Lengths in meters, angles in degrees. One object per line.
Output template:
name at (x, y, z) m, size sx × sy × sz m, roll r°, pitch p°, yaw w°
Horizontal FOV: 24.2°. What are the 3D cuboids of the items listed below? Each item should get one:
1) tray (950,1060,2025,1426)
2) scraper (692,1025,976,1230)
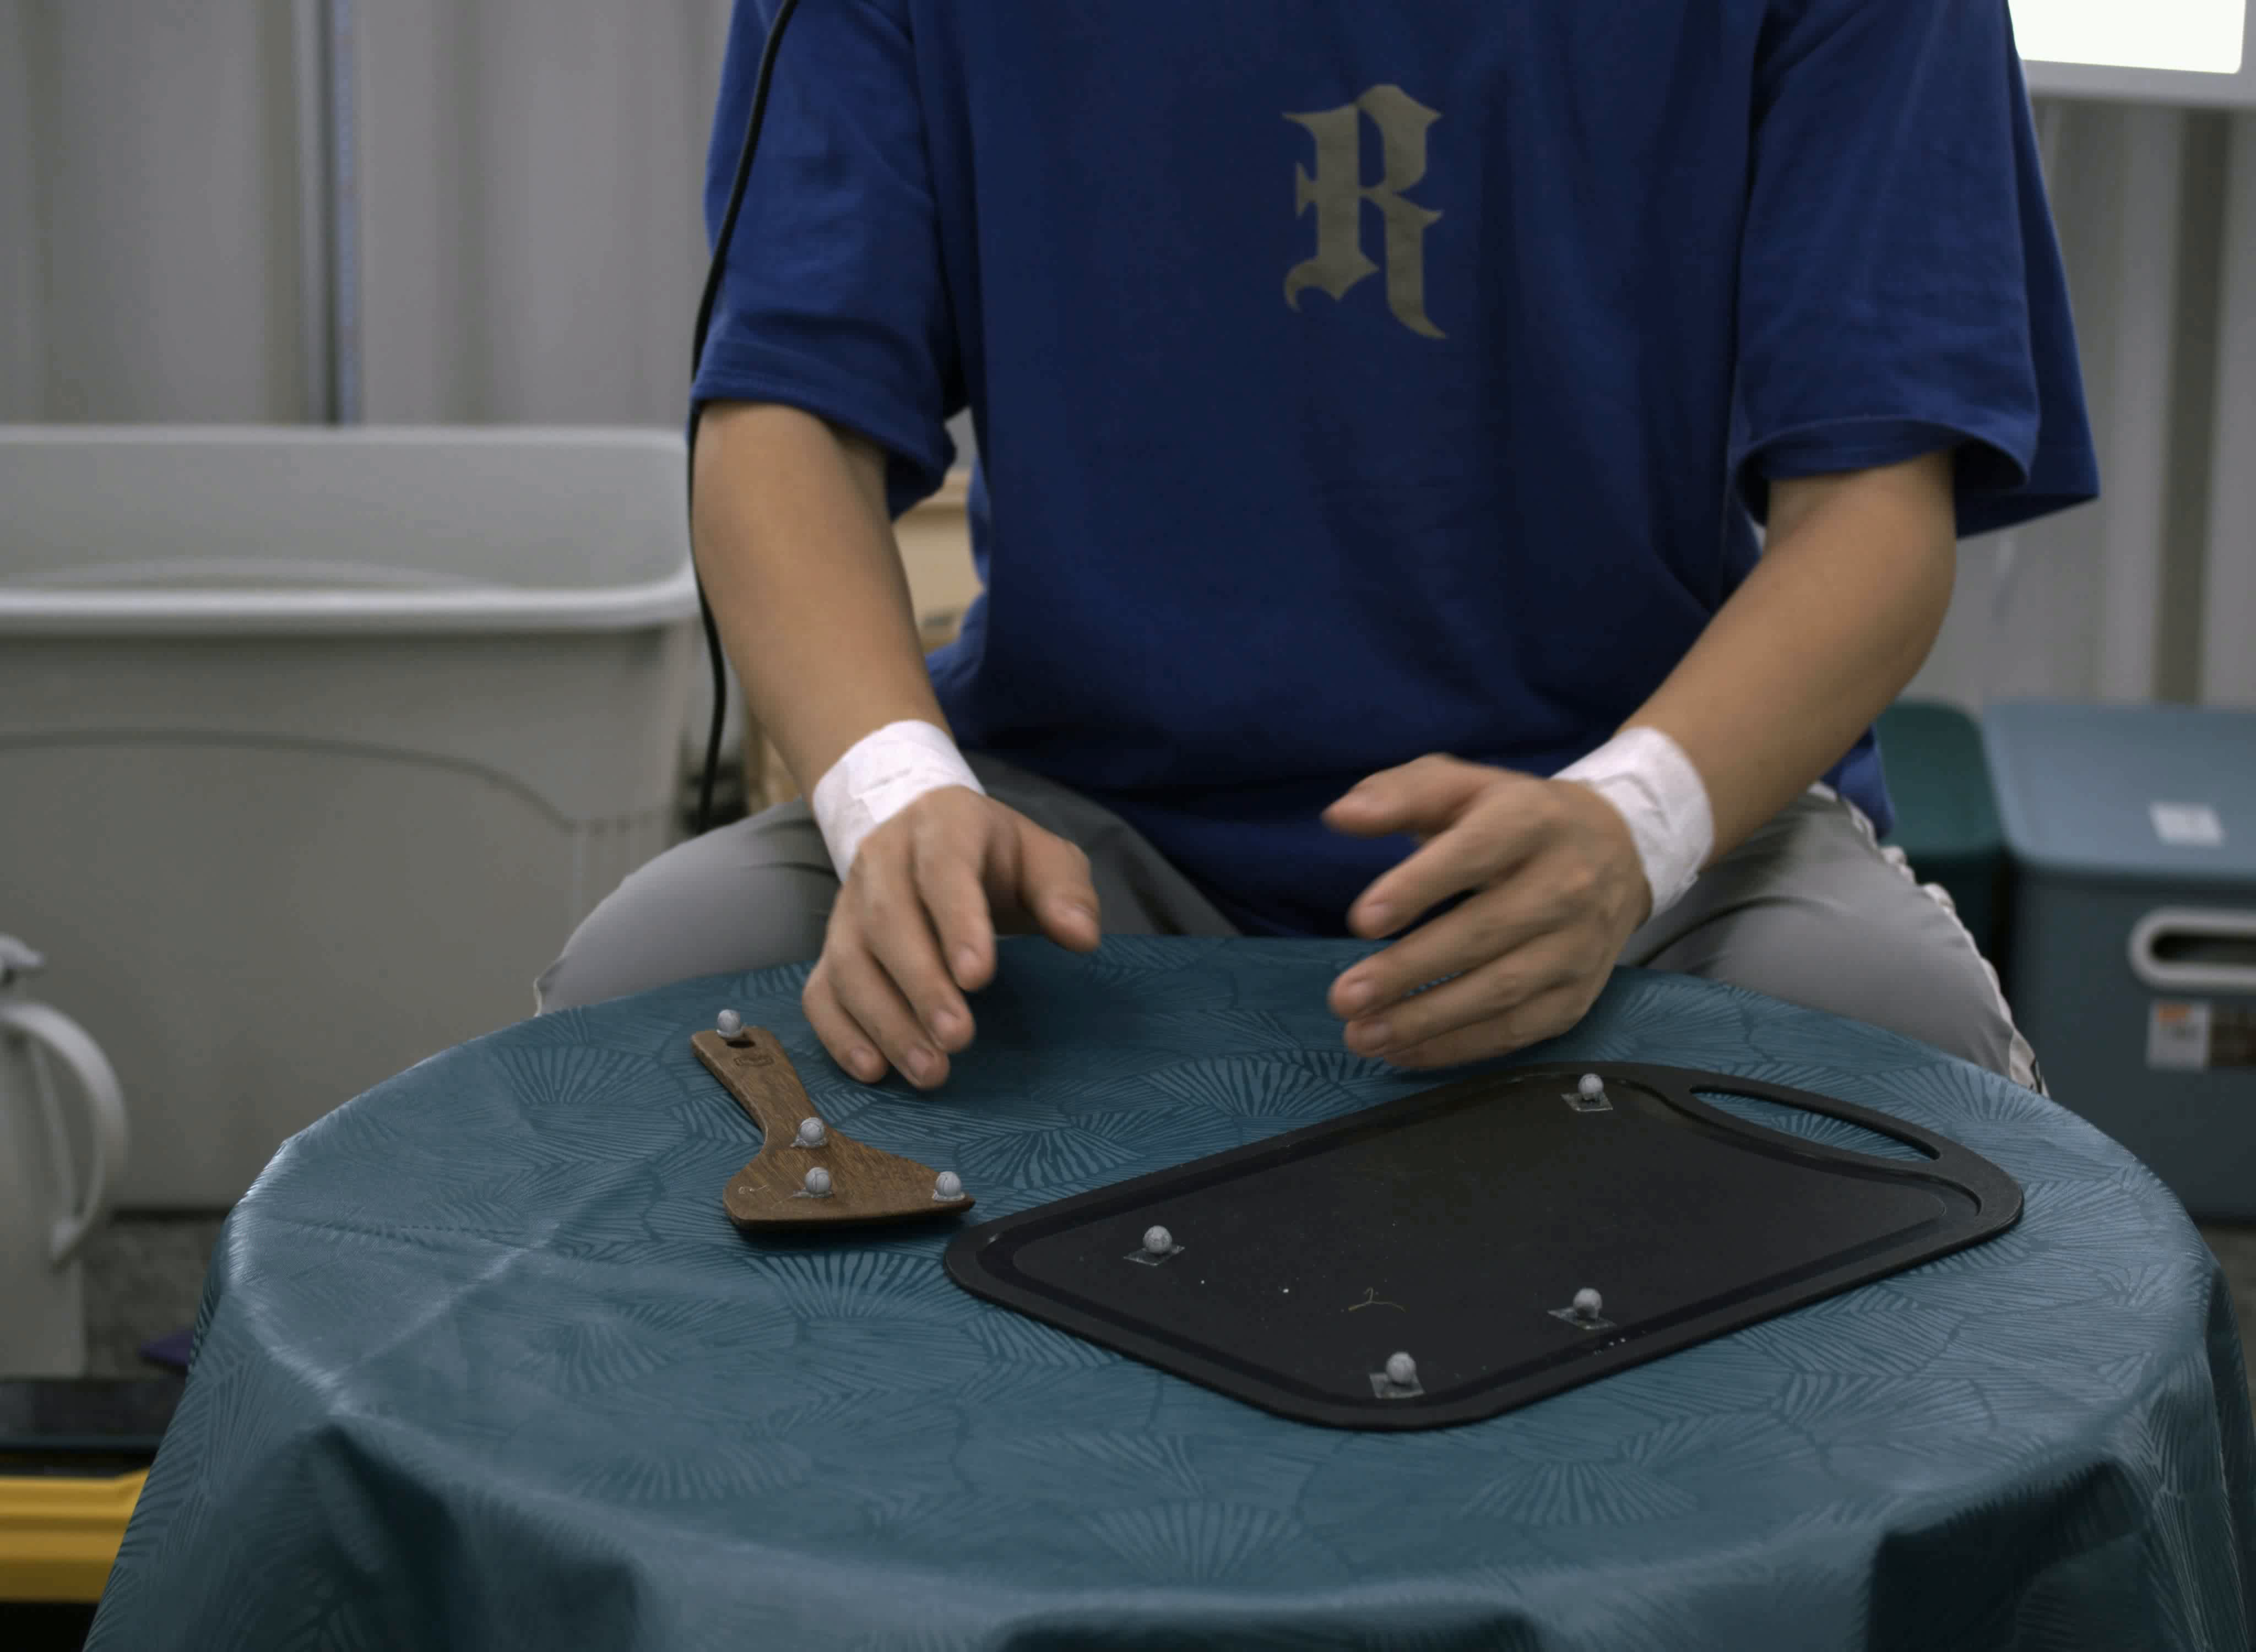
tray at (0.117, 0.118, 1.595) m, size 0.327 × 0.010 × 0.208 m, roll -13°, pitch 20°, yaw -41°
scraper at (-0.106, 0.095, 1.666) m, size 0.076 × 0.011 × 0.209 m, roll -3°, pitch 15°, yaw -15°
